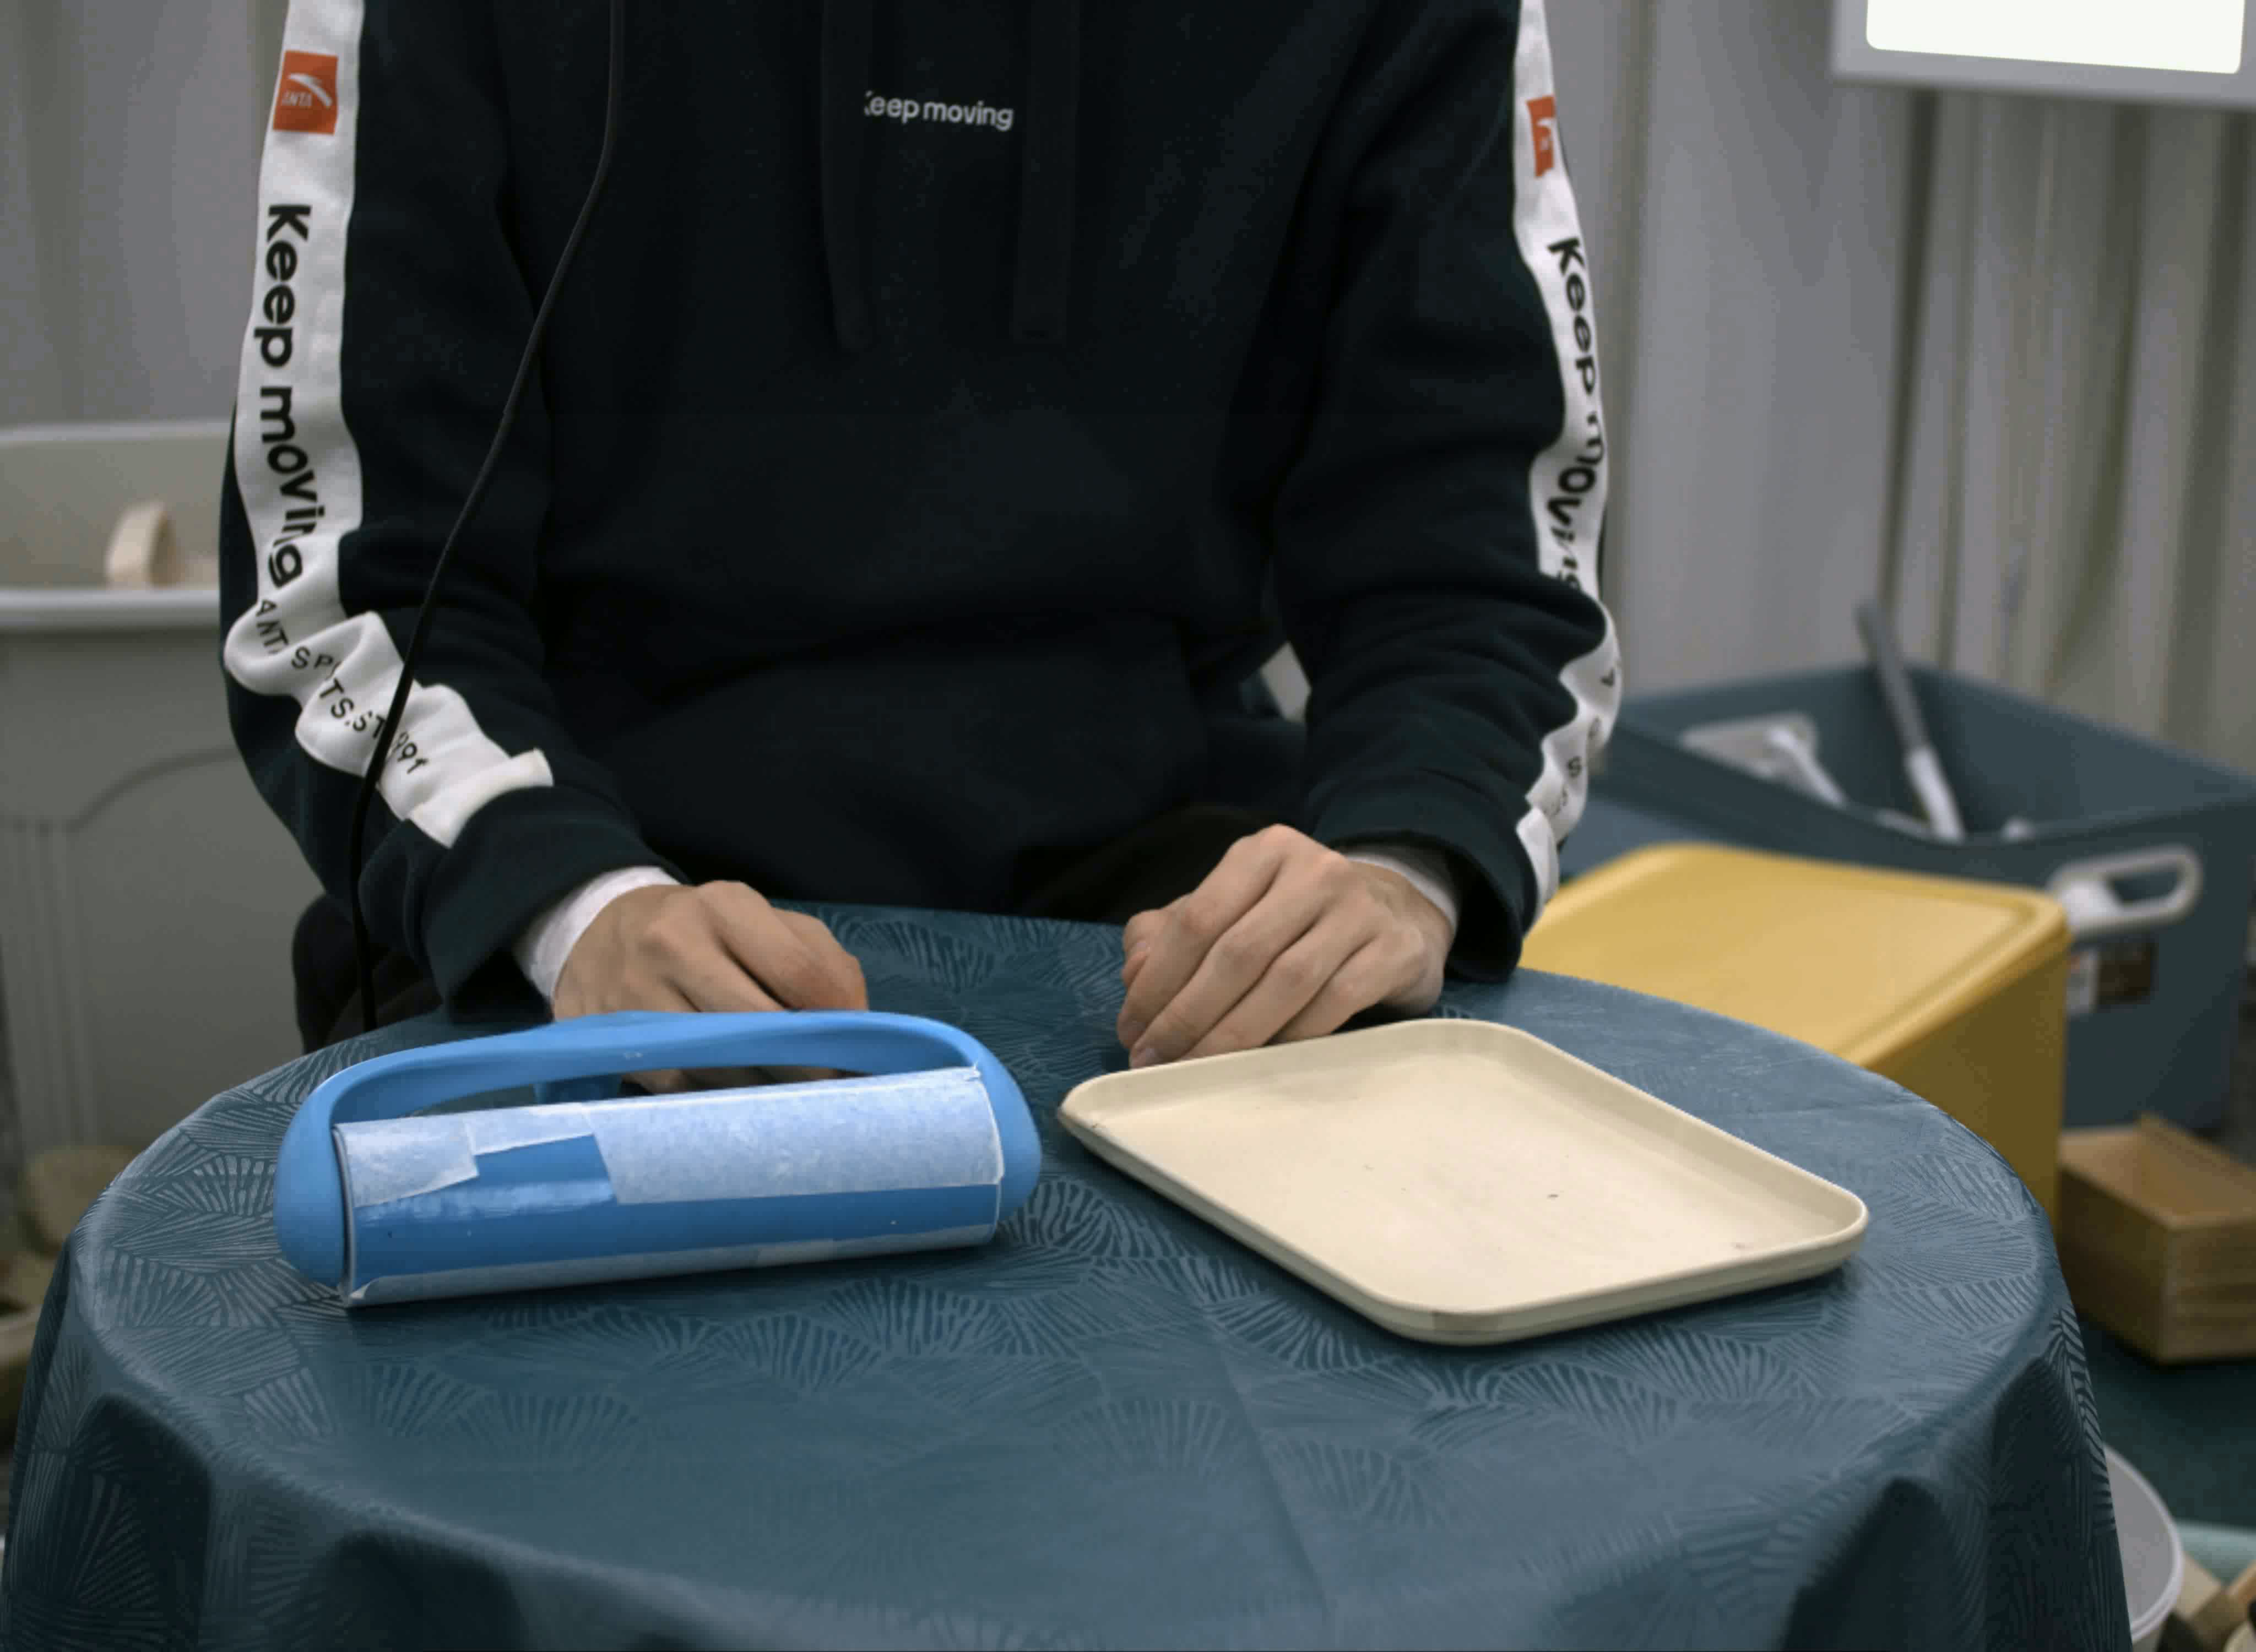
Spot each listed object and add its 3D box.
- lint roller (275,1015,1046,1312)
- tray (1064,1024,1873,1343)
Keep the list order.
[{"bbox_3d":[-0.154,0.089,1.592,0.229,0.068,0.178,-6,18,-19],"label":"lint roller"},{"bbox_3d":[0.100,0.107,1.607,0.172,0.017,0.236,-8,17,-29],"label":"tray"}]
